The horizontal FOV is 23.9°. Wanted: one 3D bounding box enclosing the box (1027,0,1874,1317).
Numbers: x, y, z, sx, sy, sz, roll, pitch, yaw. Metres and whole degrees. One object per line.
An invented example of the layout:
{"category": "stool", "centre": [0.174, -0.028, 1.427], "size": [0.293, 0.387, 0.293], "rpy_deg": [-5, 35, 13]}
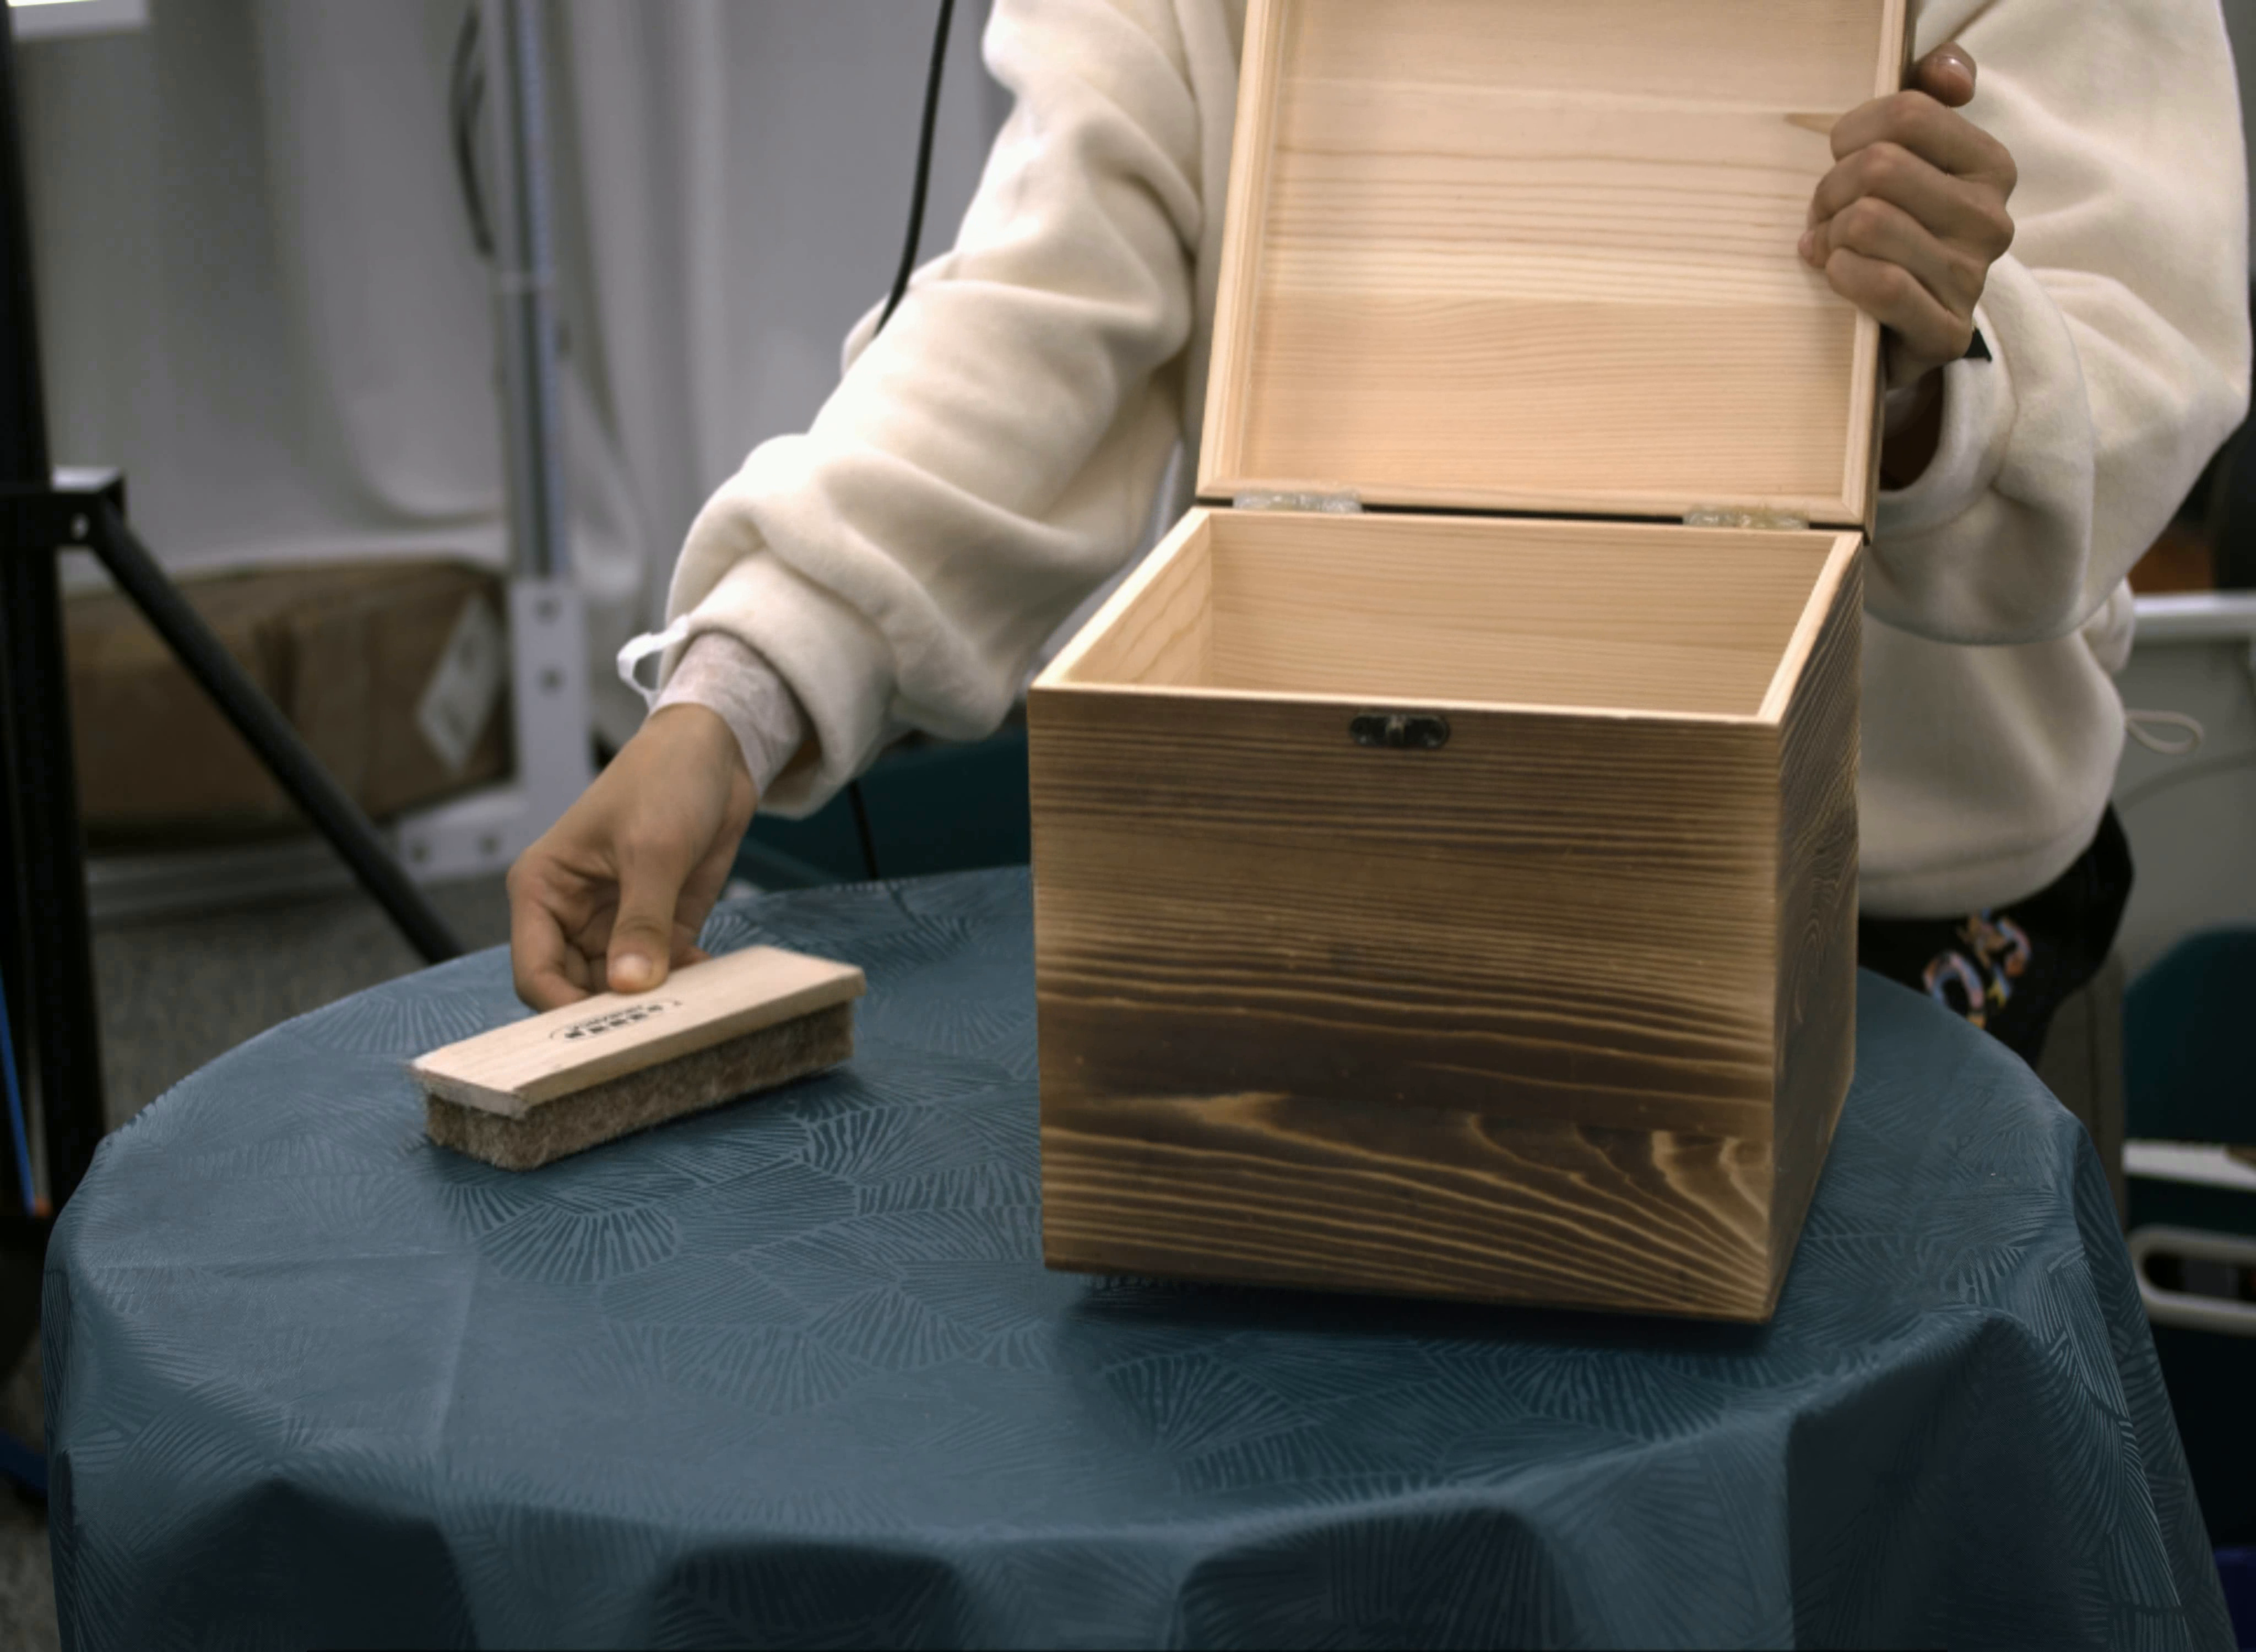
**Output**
{"category": "box", "centre": [0.102, -0.093, 1.513], "size": [0.210, 0.375, 0.320], "rpy_deg": [2, 18, 13]}

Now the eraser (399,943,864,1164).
{"category": "eraser", "centre": [-0.152, 0.070, 1.655], "size": [0.136, 0.029, 0.058], "rpy_deg": [-17, 17, -34]}
